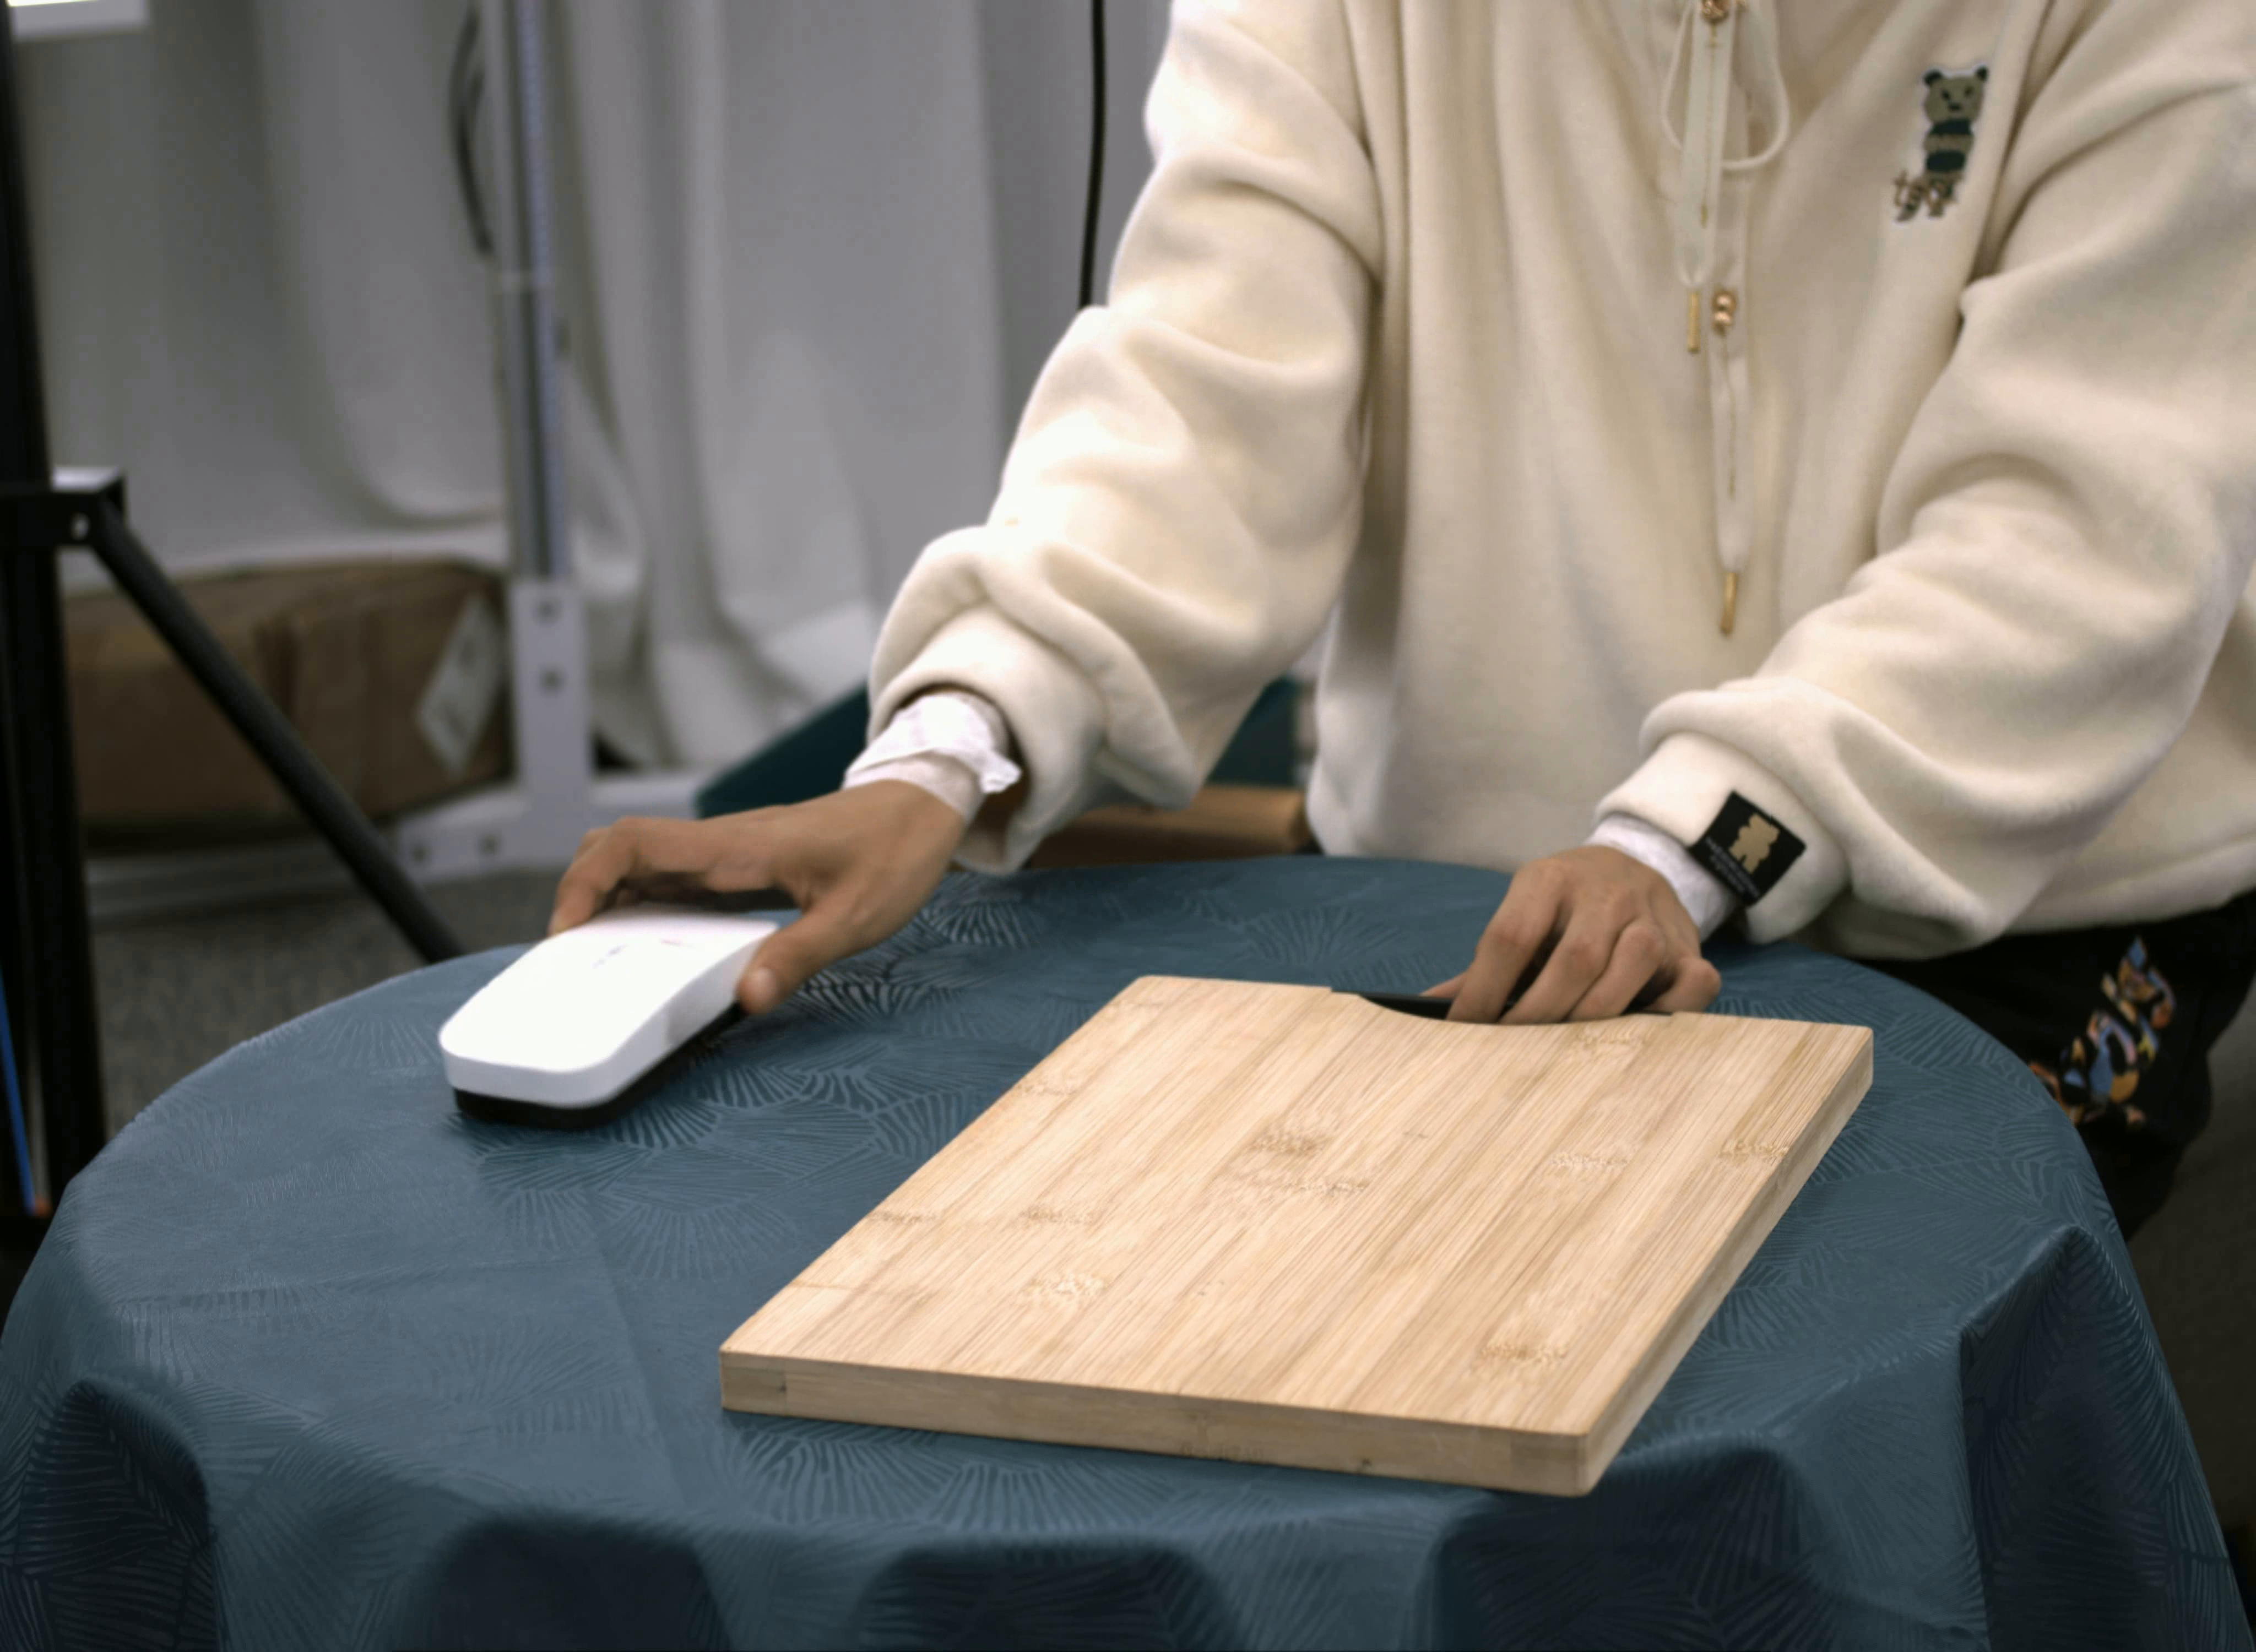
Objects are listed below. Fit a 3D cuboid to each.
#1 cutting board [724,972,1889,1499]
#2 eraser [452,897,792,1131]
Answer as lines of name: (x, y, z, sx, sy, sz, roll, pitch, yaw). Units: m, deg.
cutting board: (0.063, 0.108, 1.518, 0.253, 0.023, 0.345, 3, 17, 19)
eraser: (-0.157, 0.056, 1.686, 0.064, 0.034, 0.129, 7, 24, 26)
